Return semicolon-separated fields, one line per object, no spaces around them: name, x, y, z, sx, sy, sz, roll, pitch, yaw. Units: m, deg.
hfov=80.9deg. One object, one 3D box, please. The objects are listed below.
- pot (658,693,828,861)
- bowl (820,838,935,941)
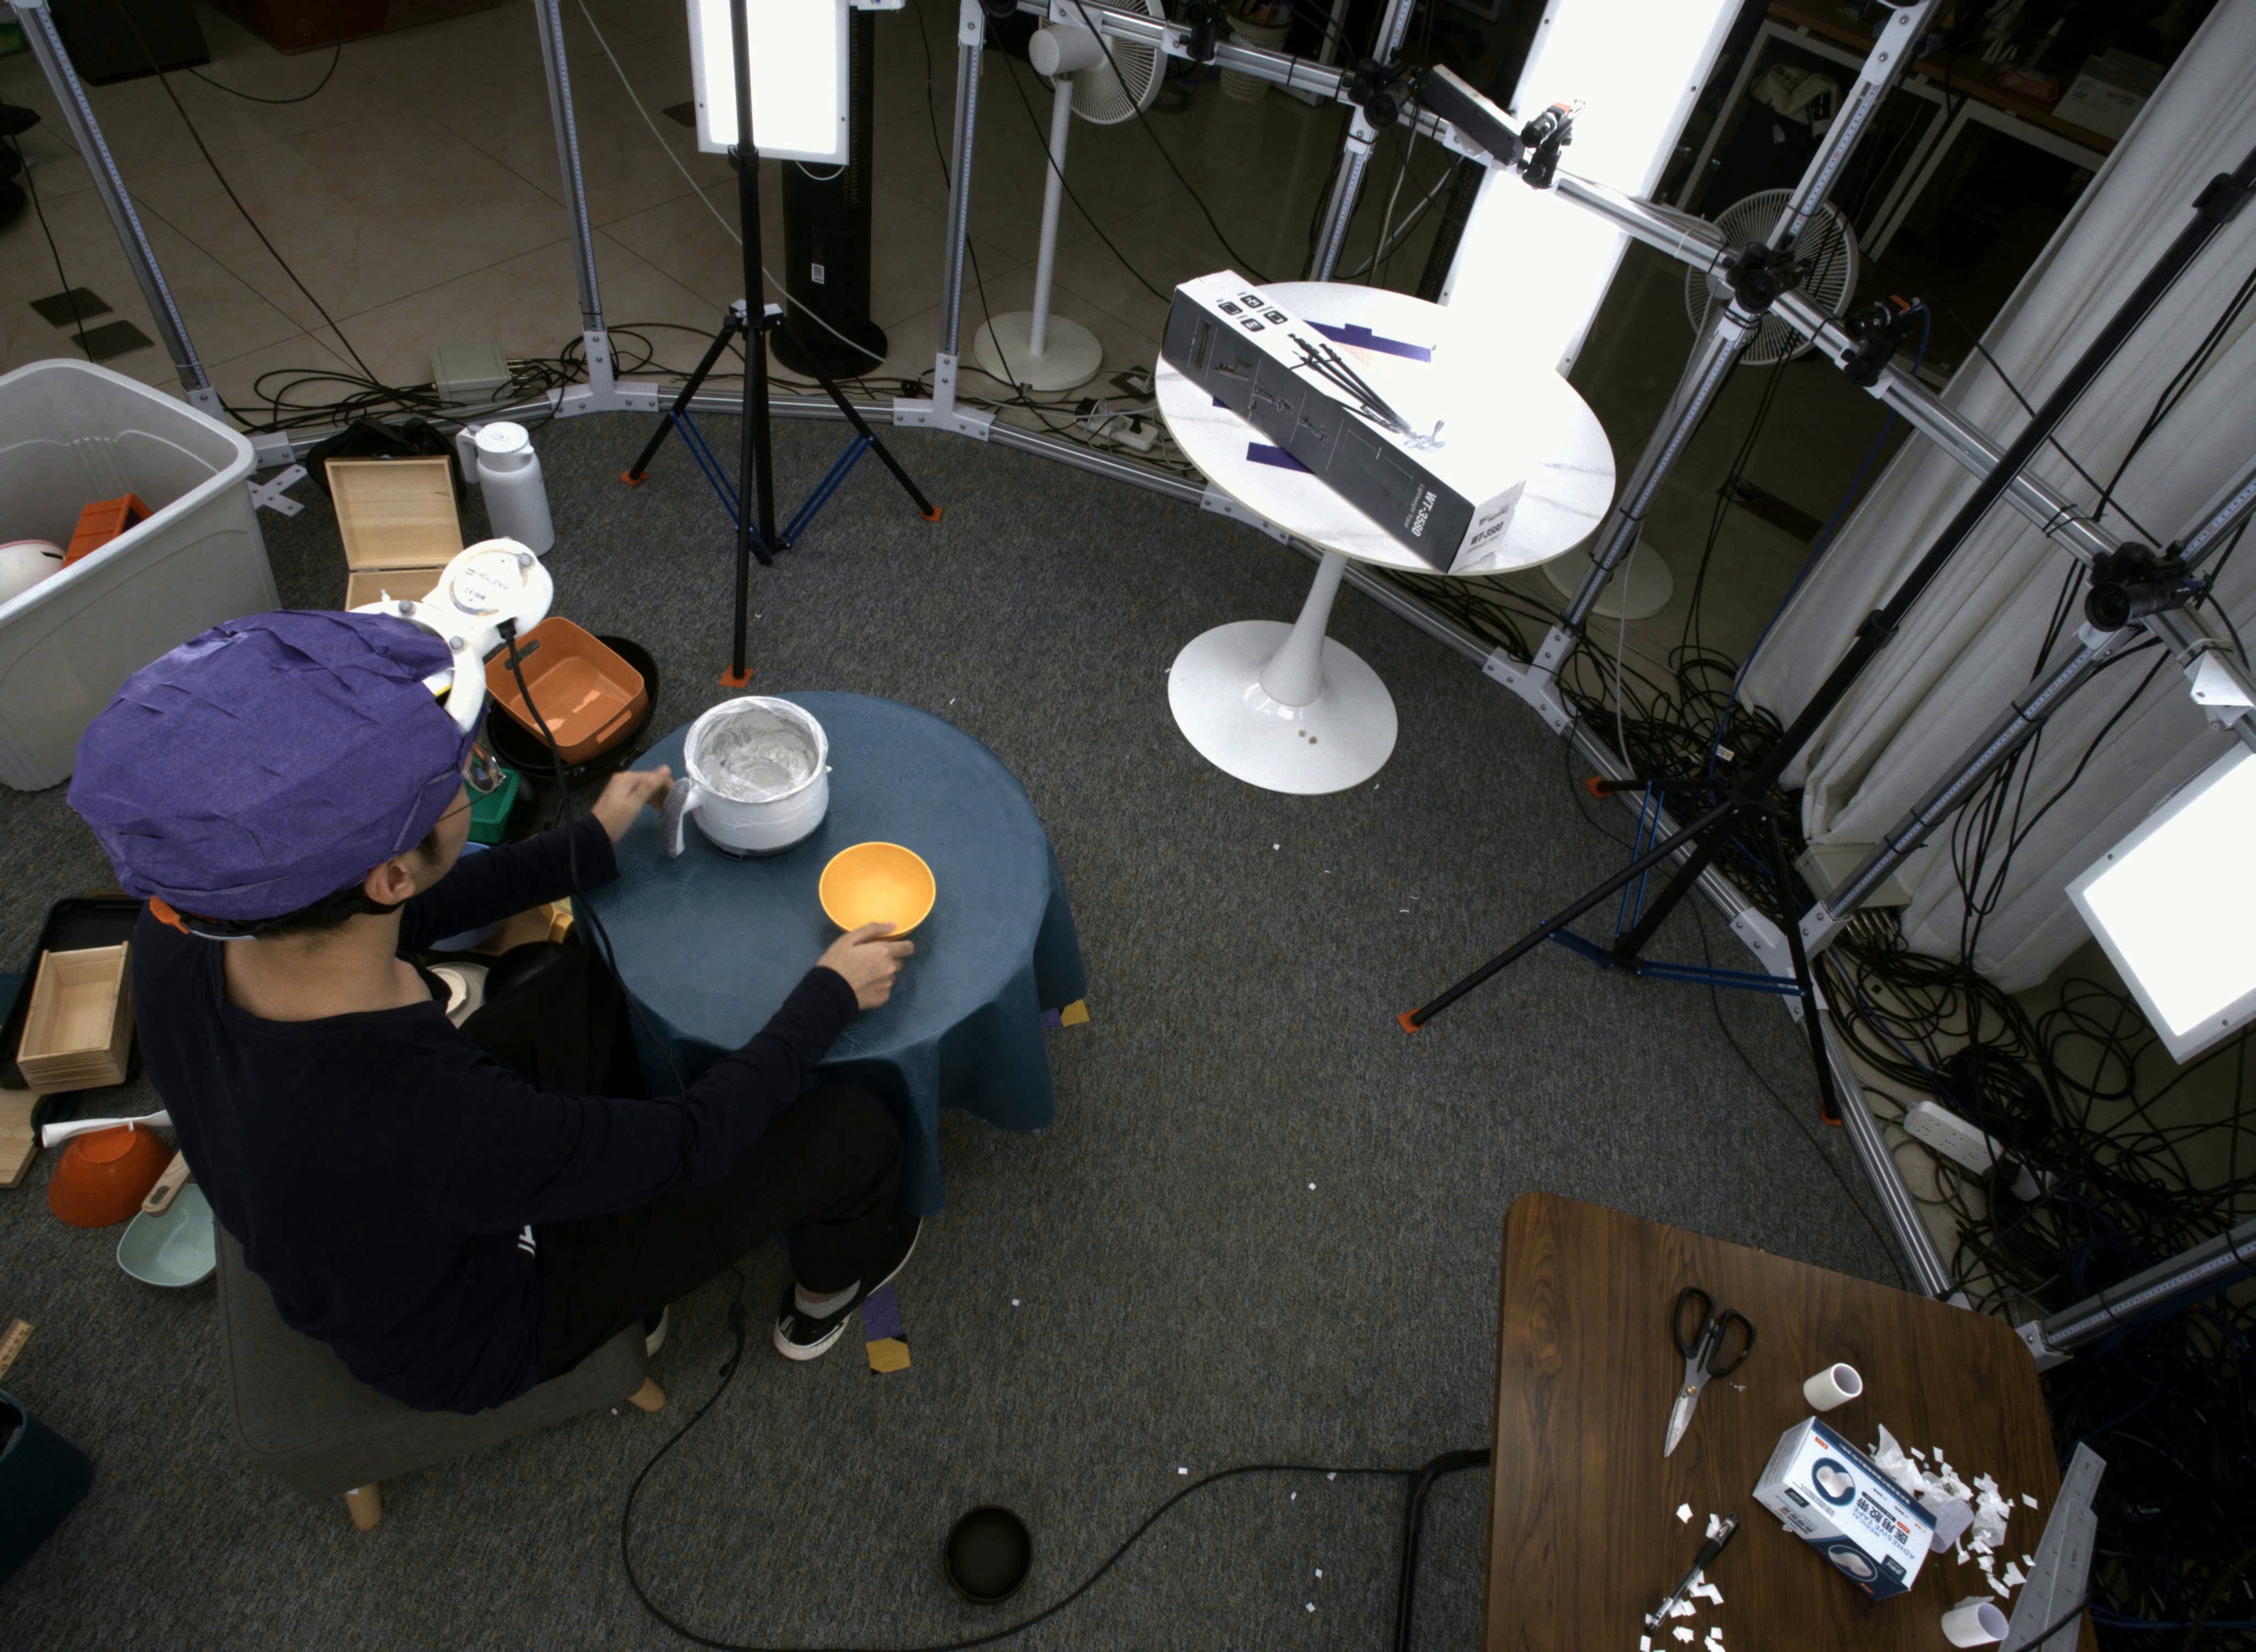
pot;-0.500;-0.049;1.665;0.234;0.139;0.174;-34;66;-31
bowl;-0.318;0.090;1.655;0.145;0.061;0.143;7;55;-8
